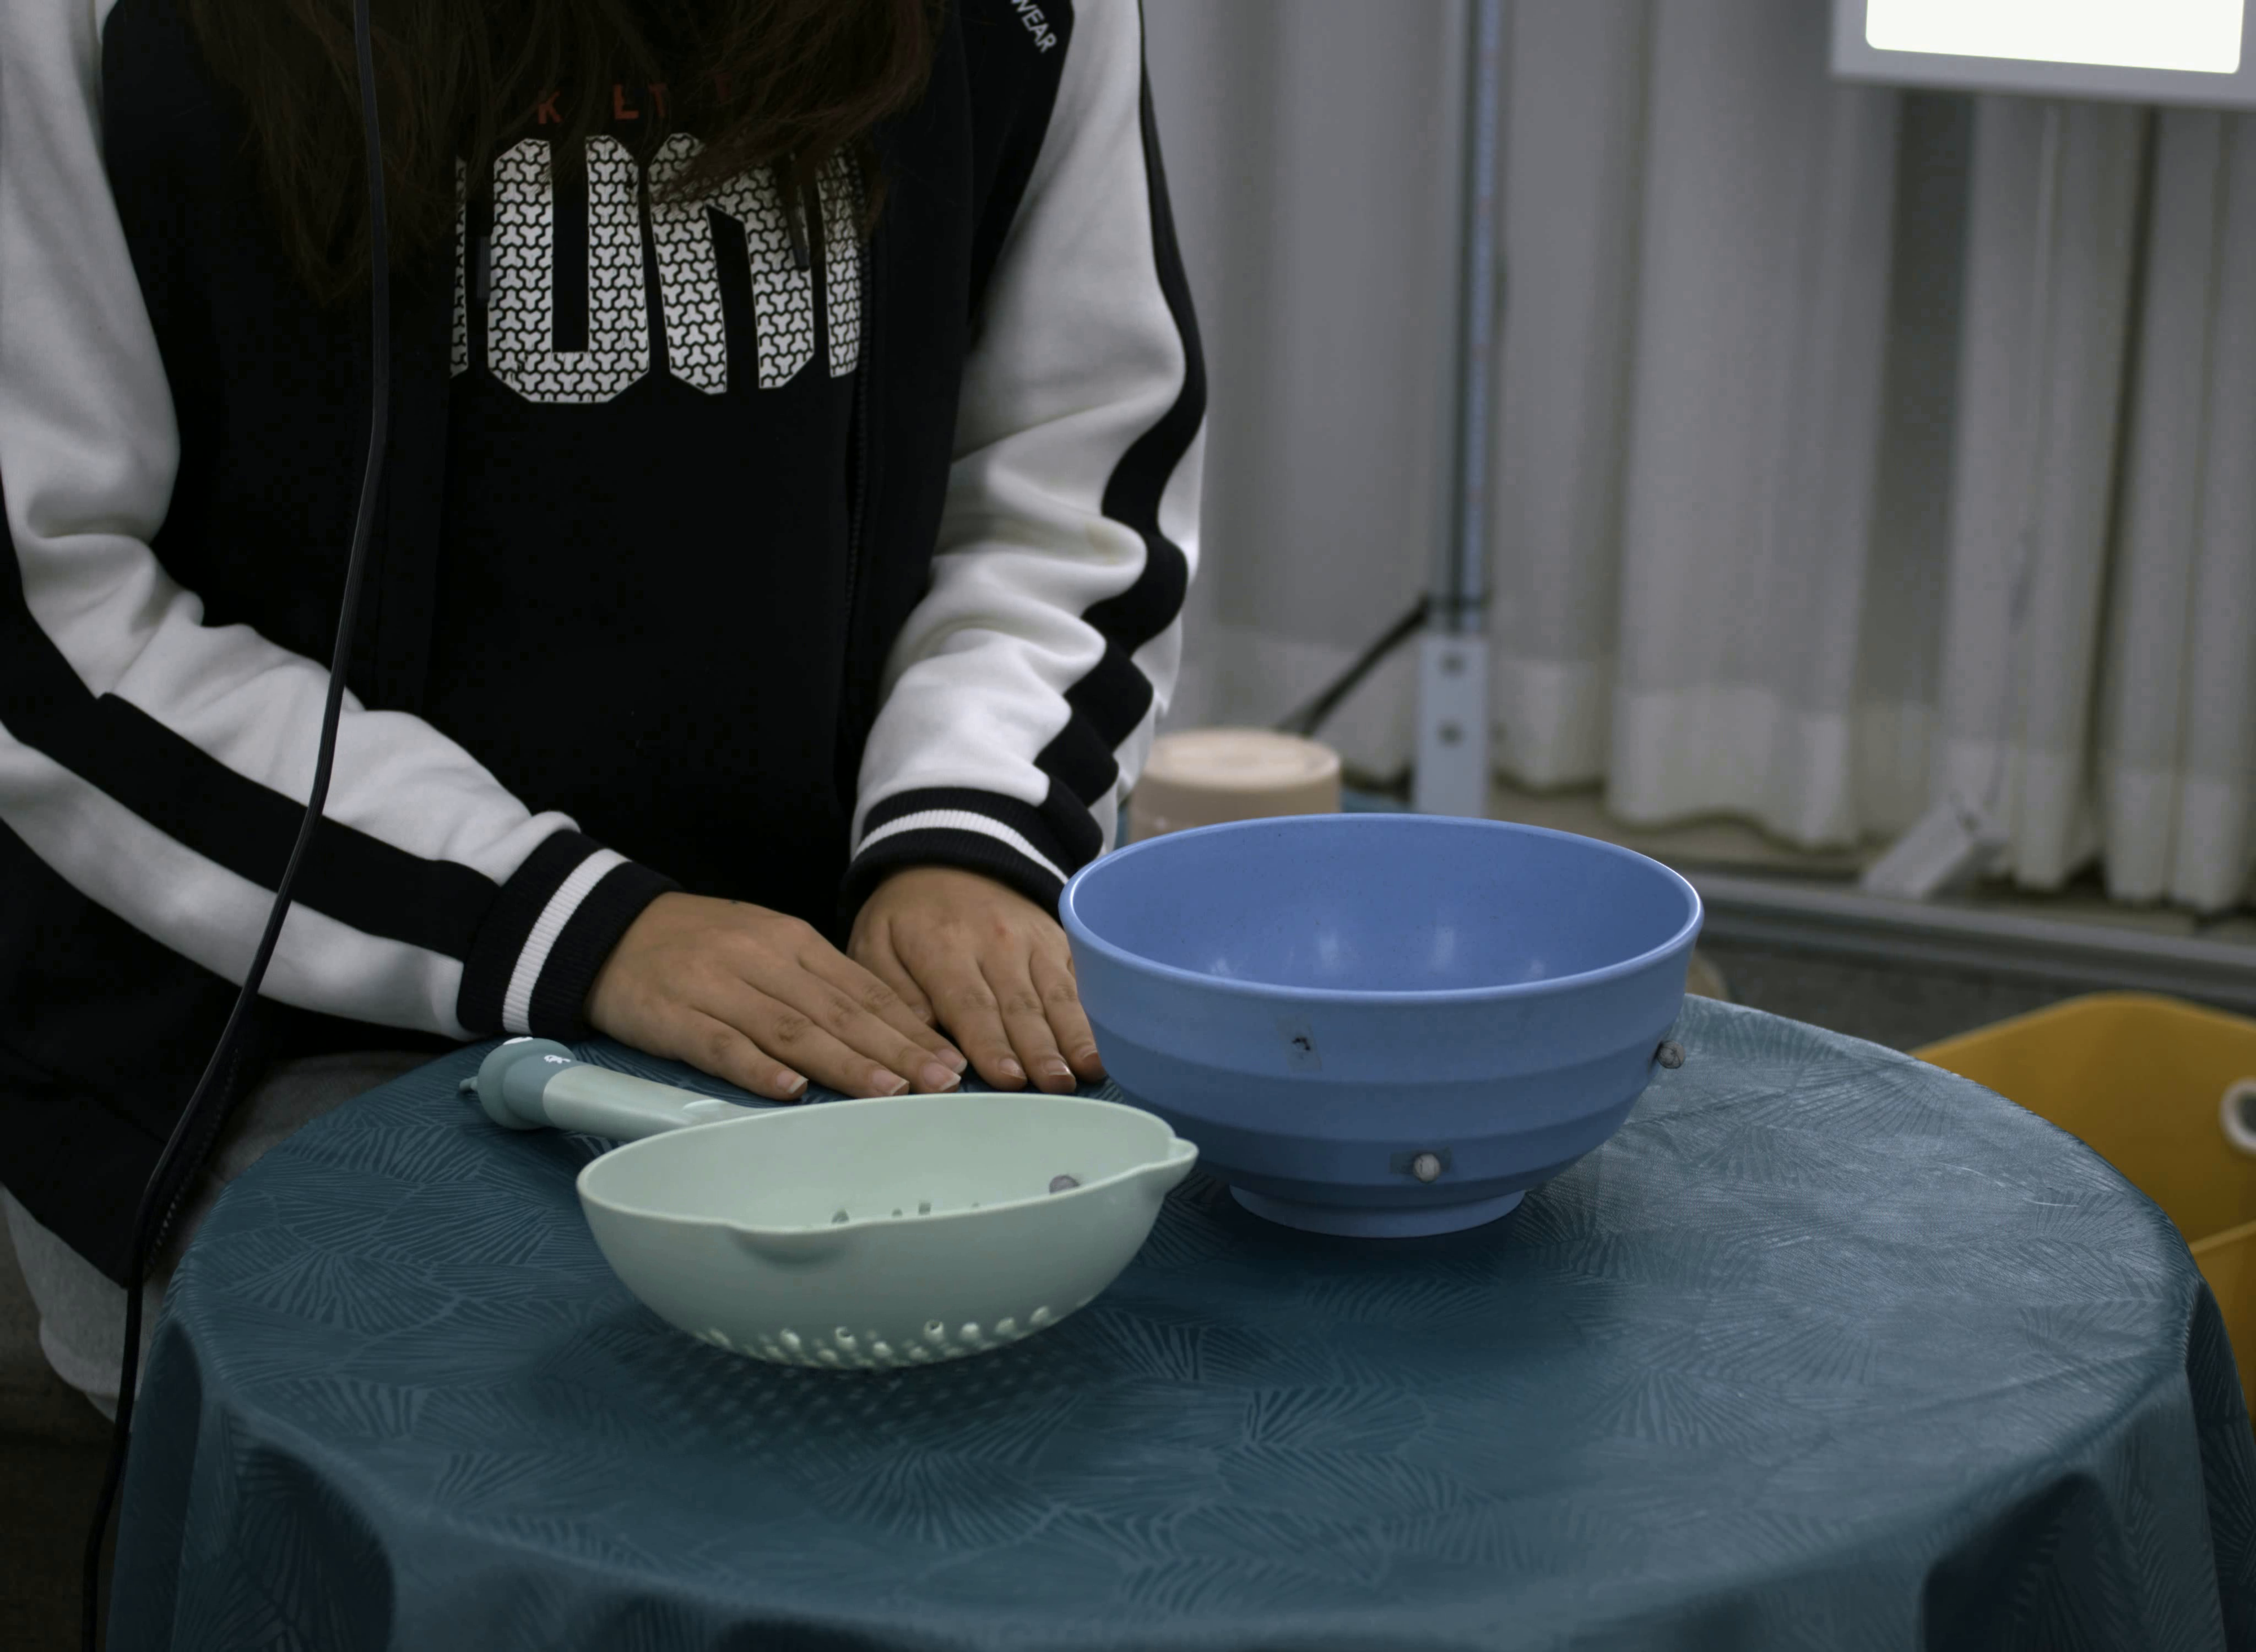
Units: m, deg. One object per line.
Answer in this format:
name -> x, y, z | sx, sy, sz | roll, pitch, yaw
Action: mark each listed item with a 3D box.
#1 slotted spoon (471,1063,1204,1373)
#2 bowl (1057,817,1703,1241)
slotted spoon -> -0.118, 0.099, 1.558 | 0.170, 0.076, 0.354 | -7, 15, -30
bowl -> 0.077, 0.067, 1.611 | 0.196, 0.096, 0.195 | 0, 16, 1
